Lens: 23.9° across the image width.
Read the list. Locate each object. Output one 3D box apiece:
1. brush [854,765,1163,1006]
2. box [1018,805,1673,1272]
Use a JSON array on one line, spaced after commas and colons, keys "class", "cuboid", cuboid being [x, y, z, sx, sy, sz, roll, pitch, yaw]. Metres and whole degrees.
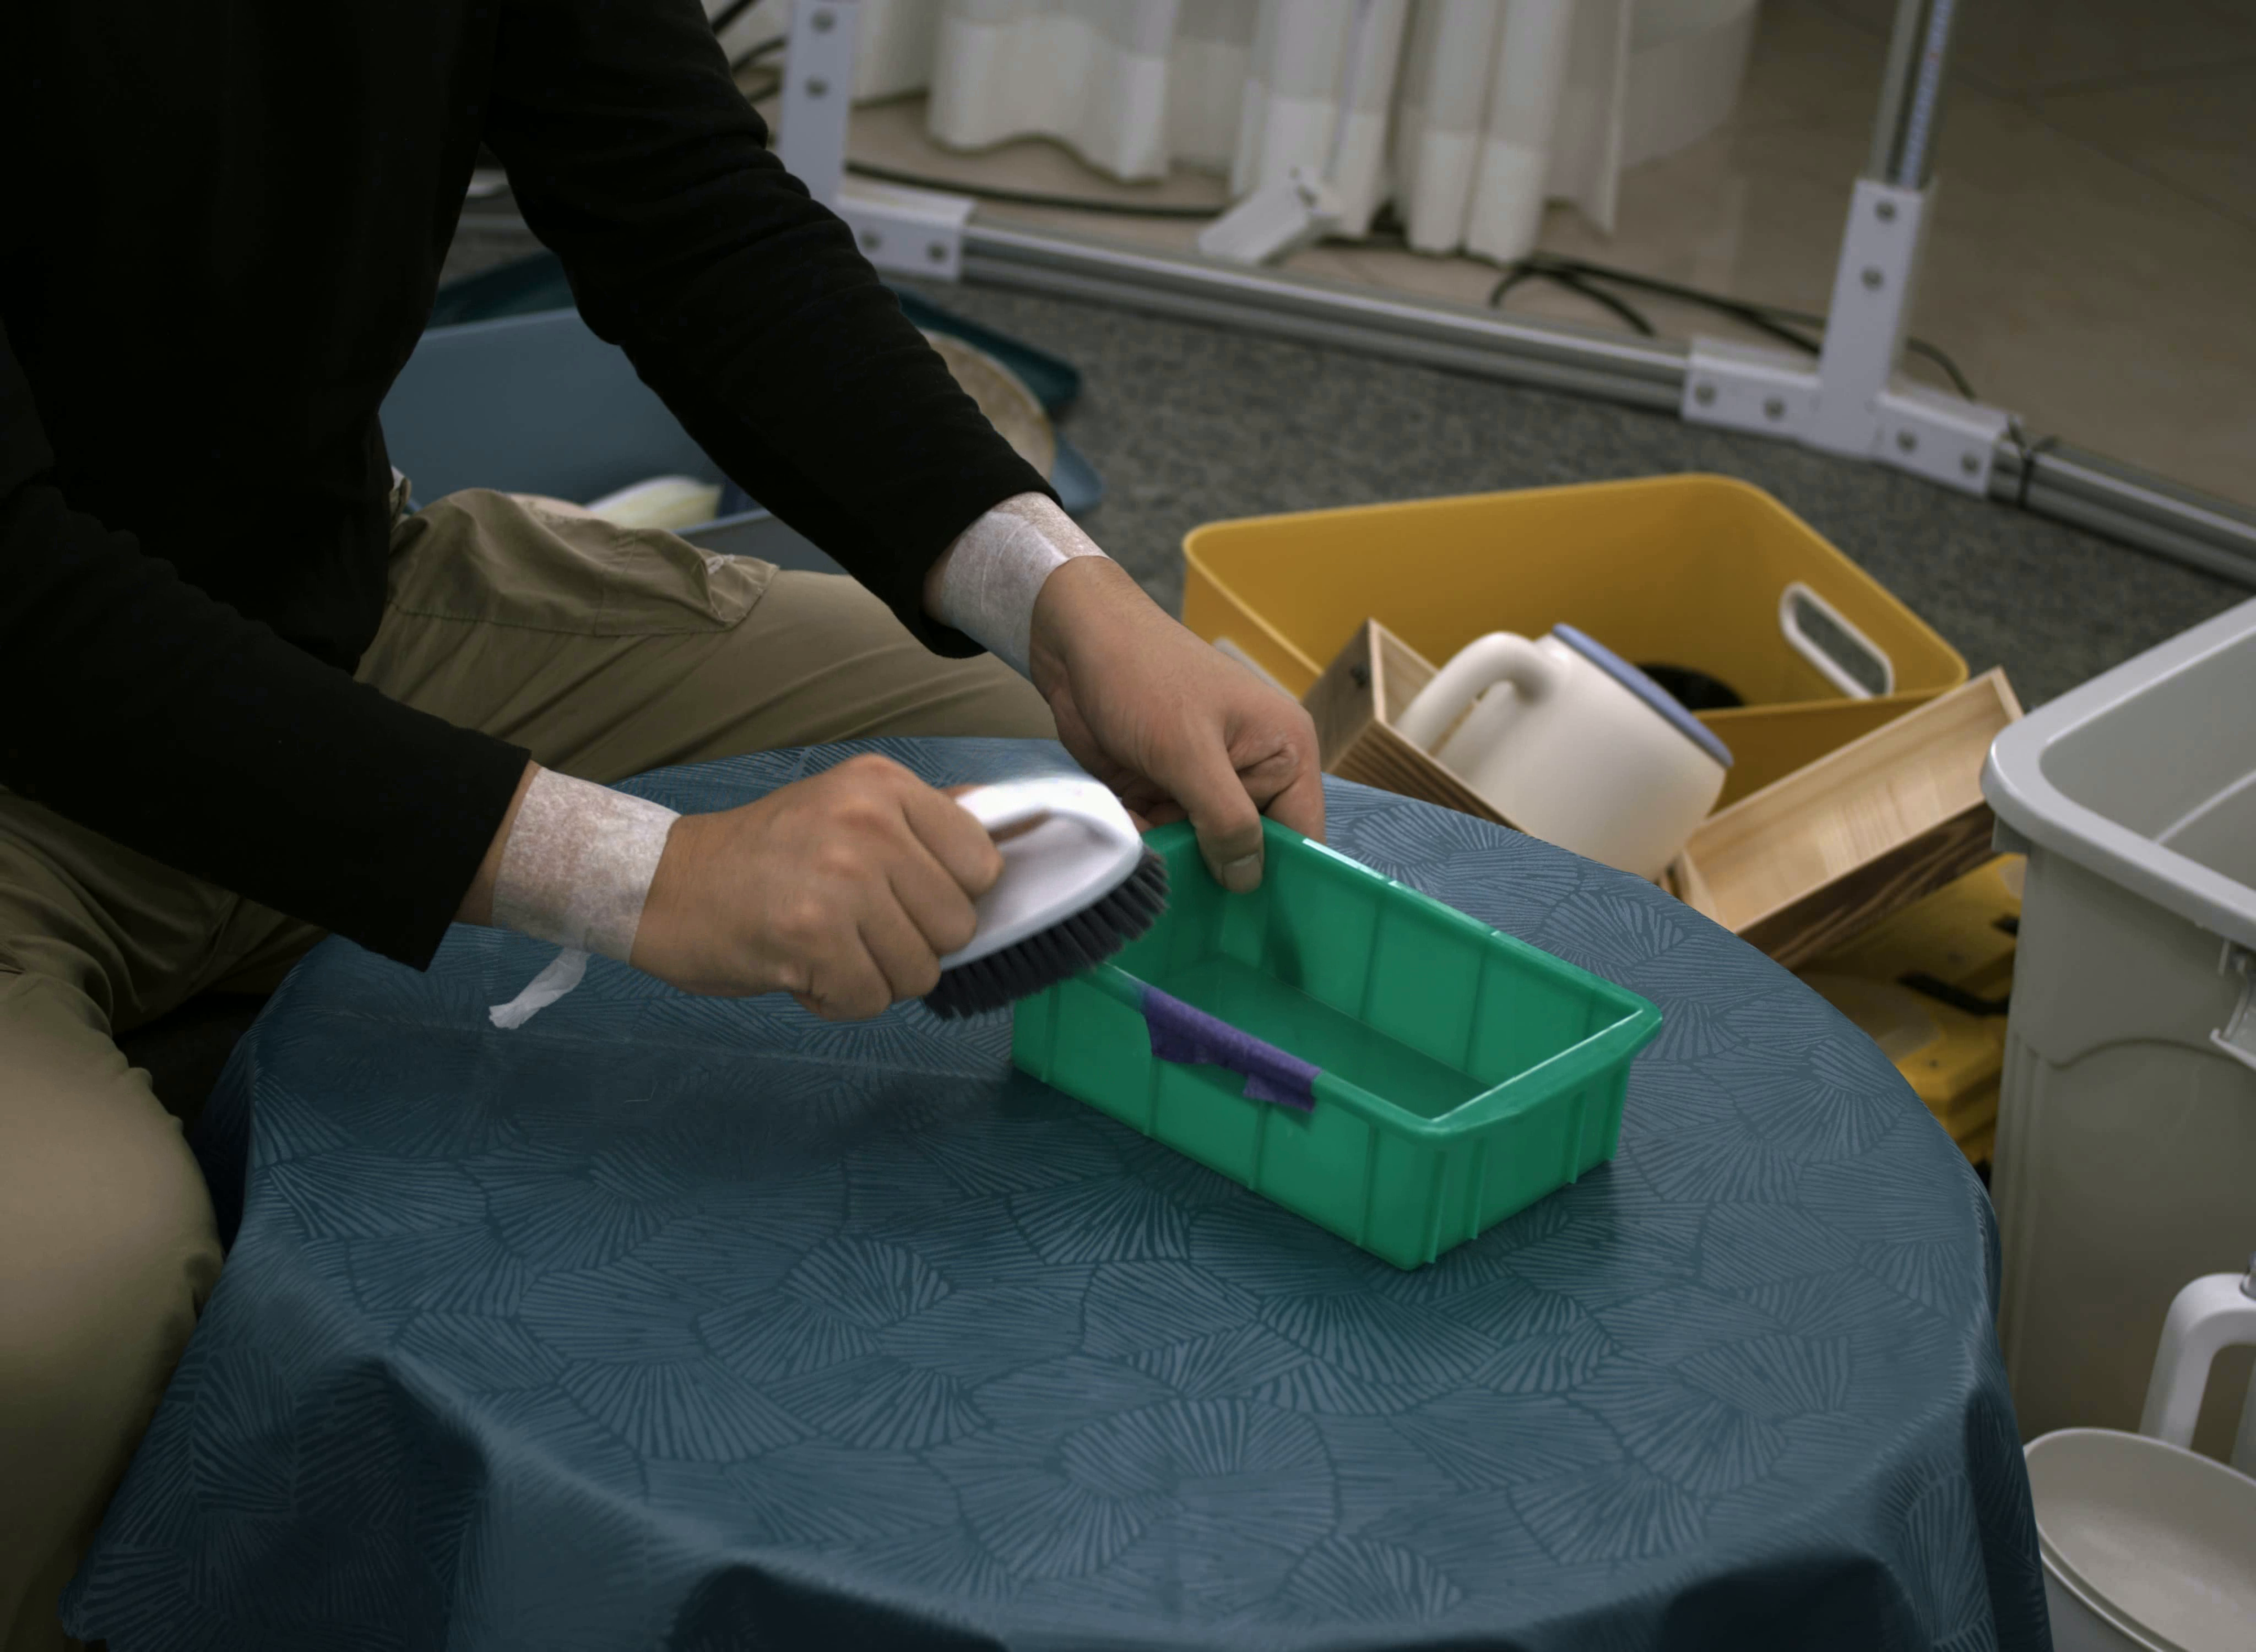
[{"class": "brush", "cuboid": [-0.047, 0.014, 1.814, 0.099, 0.072, 0.051, -24, 46, 12]}, {"class": "box", "cuboid": [0.070, 0.074, 1.847, 0.212, 0.065, 0.138, 26, 34, 31]}]
